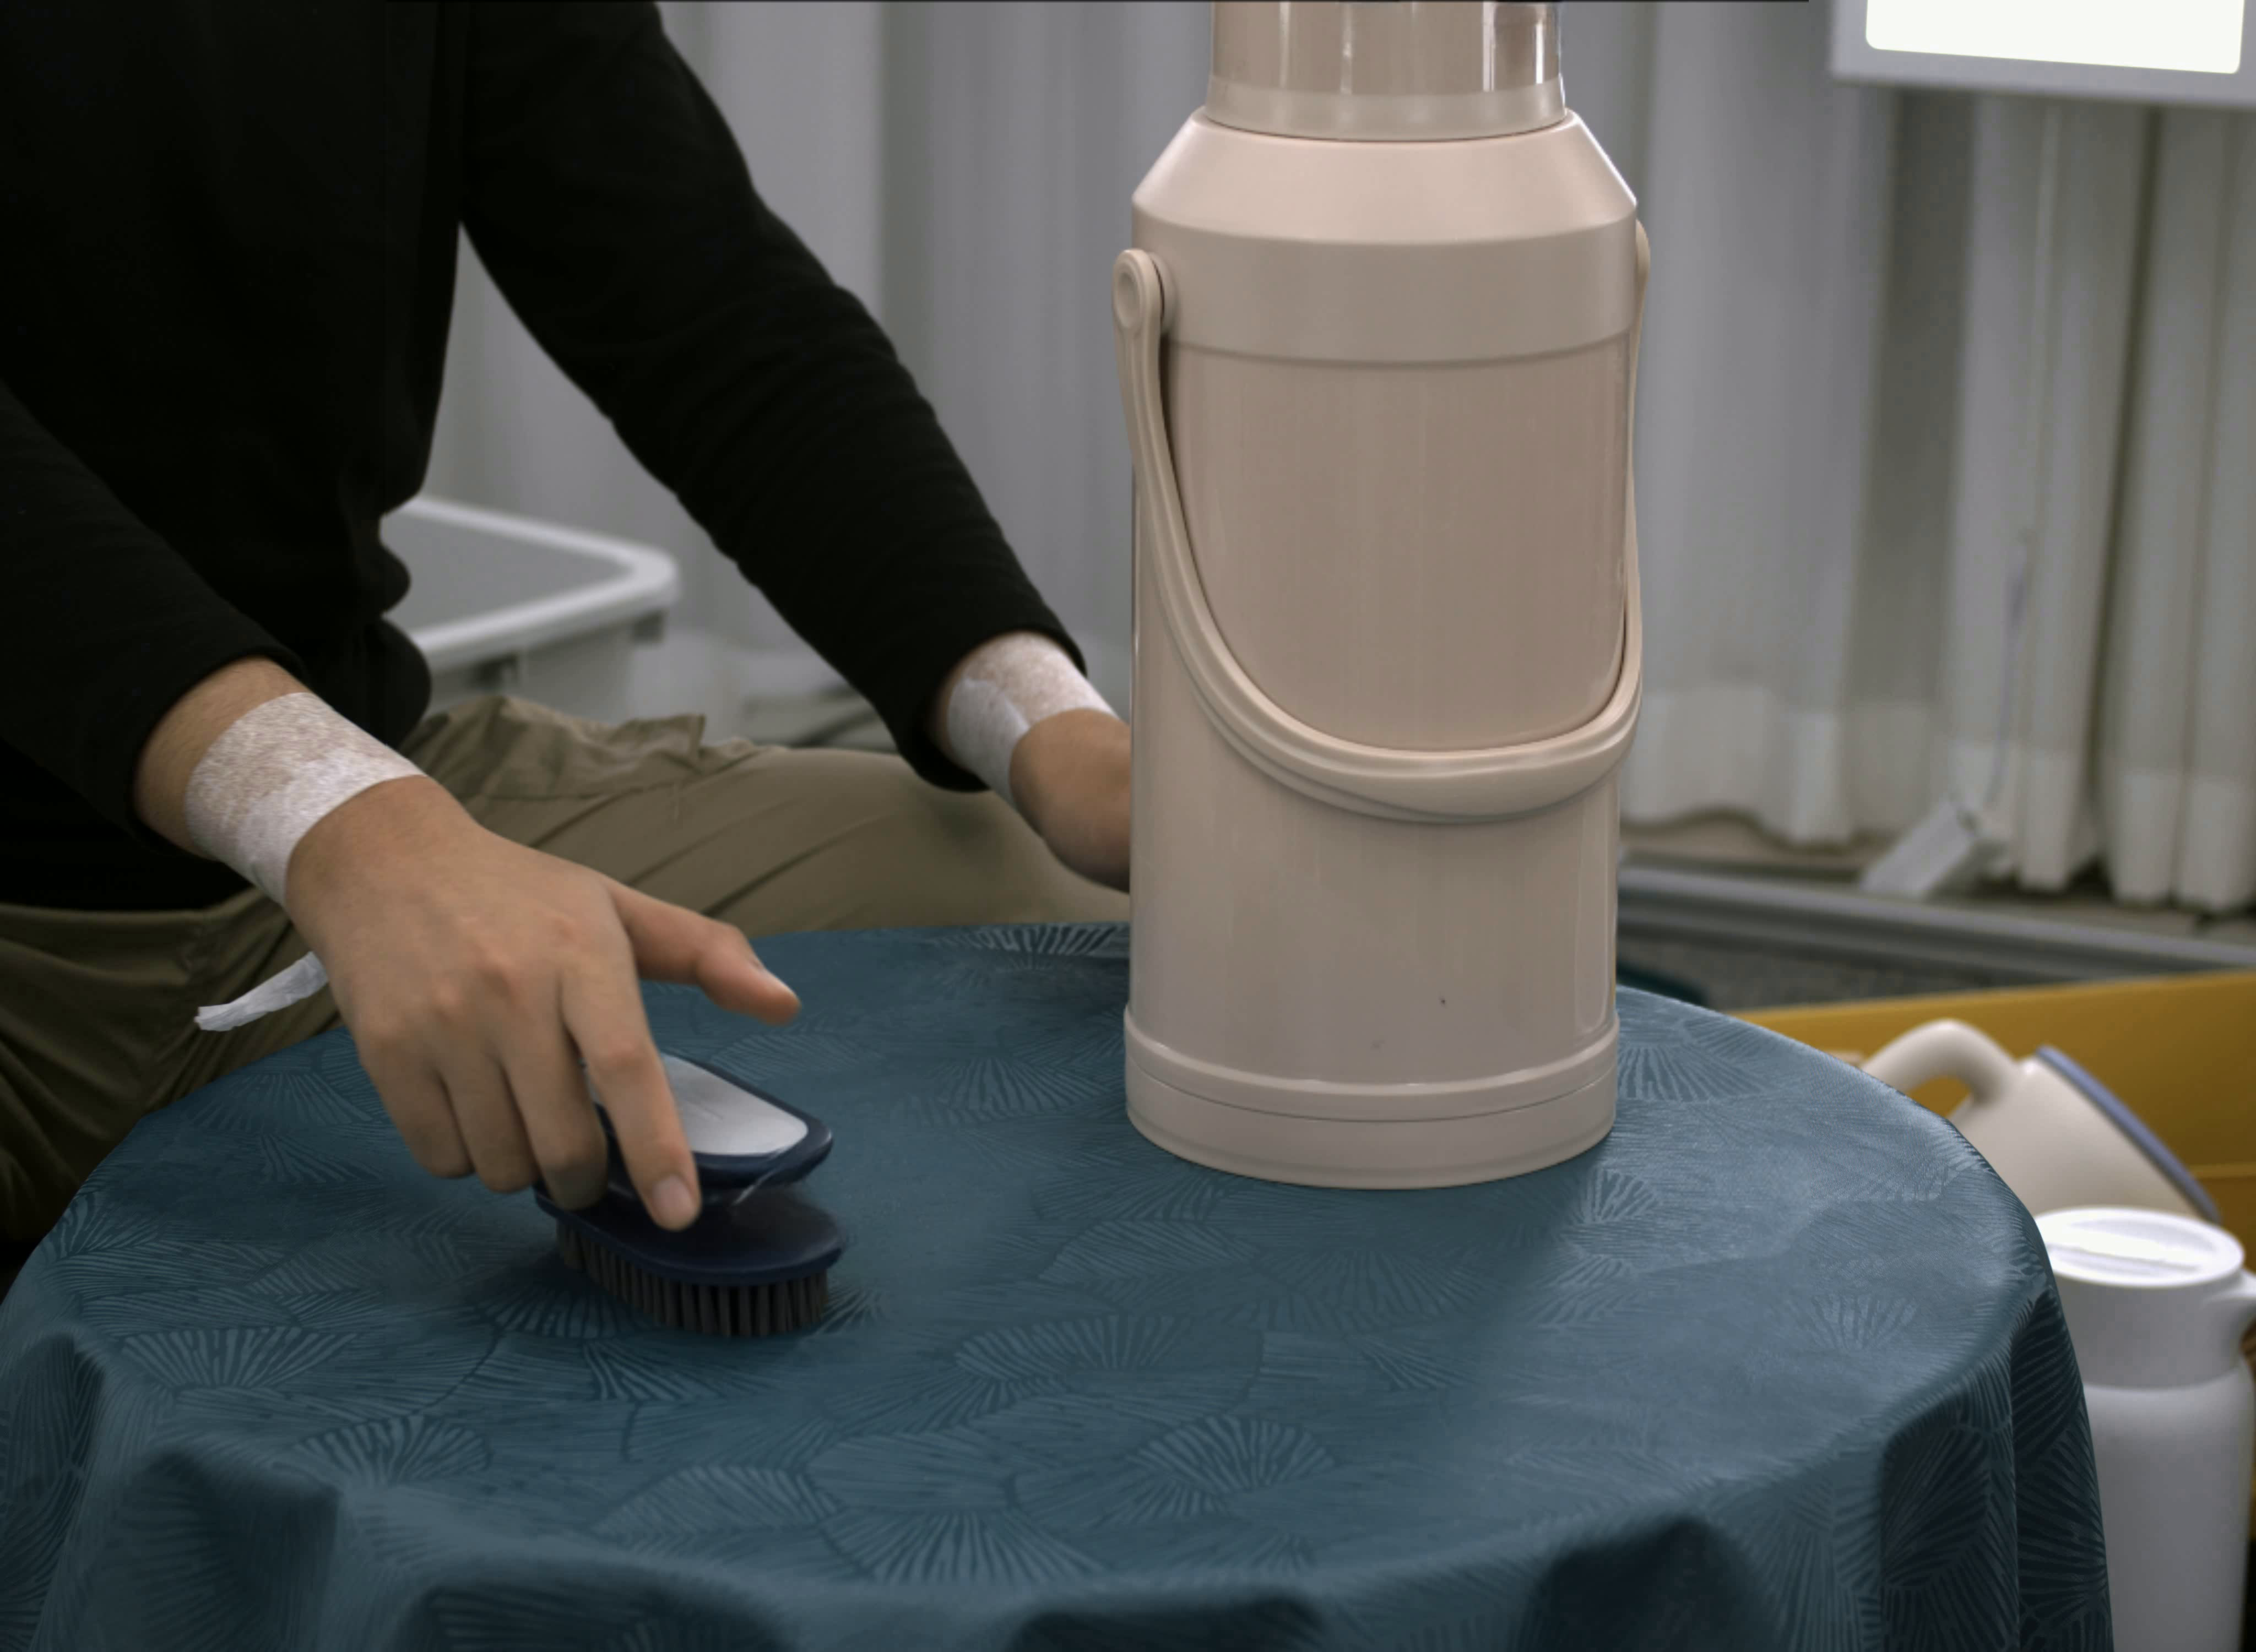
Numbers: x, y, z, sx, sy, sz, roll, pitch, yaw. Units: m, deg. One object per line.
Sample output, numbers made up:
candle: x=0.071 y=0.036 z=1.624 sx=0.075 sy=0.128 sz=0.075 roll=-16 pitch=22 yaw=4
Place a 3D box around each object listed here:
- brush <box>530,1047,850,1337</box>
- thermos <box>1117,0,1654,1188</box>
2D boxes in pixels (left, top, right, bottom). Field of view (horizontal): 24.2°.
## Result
brush: x=-0.128 y=0.108 z=1.532 sx=0.068 sy=0.062 sz=0.120 roll=-9 pitch=19 yaw=-31
thermos: x=0.076 y=-0.104 z=1.656 sx=0.176 sy=0.410 sz=0.204 roll=-9 pitch=19 yaw=-24
